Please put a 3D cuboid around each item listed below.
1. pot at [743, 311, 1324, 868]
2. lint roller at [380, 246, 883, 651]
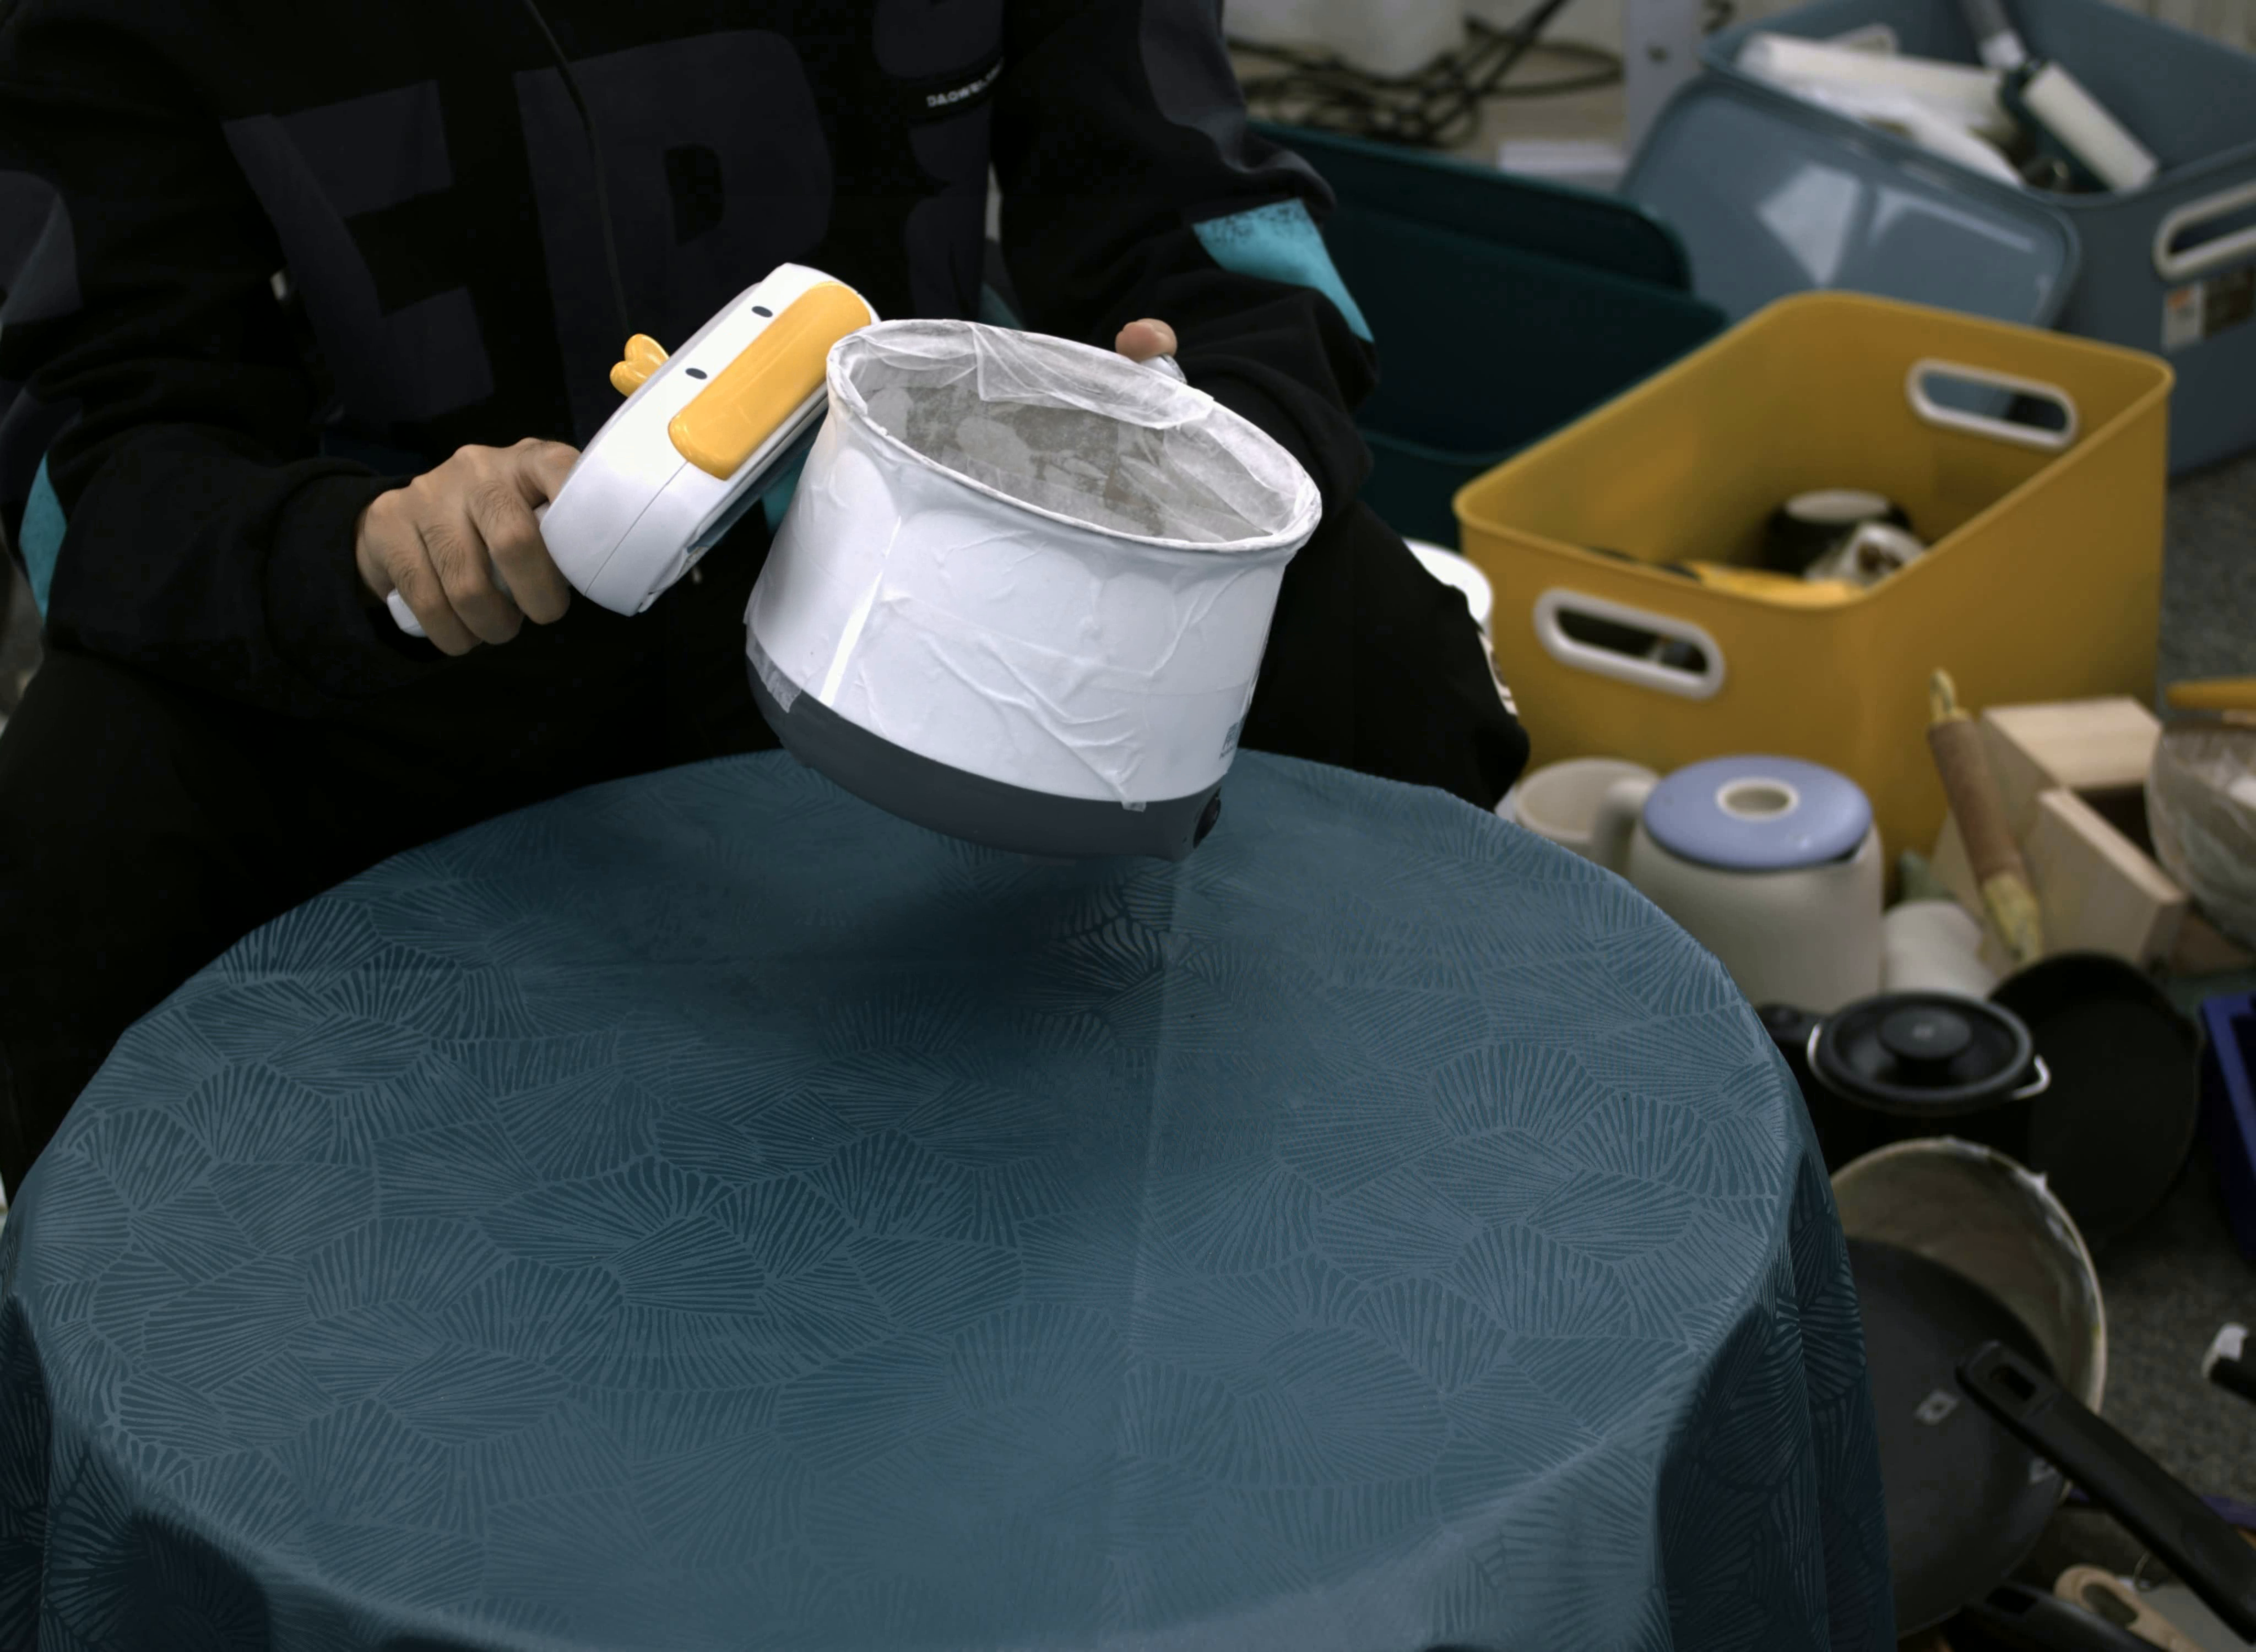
[{"bbox_3d":[-0.029,-0.089,1.963,0.178,0.135,0.237,24,23,8],"label":"pot"},{"bbox_3d":[-0.184,-0.113,1.978,0.189,0.074,0.196,-40,11,28],"label":"lint roller"}]
